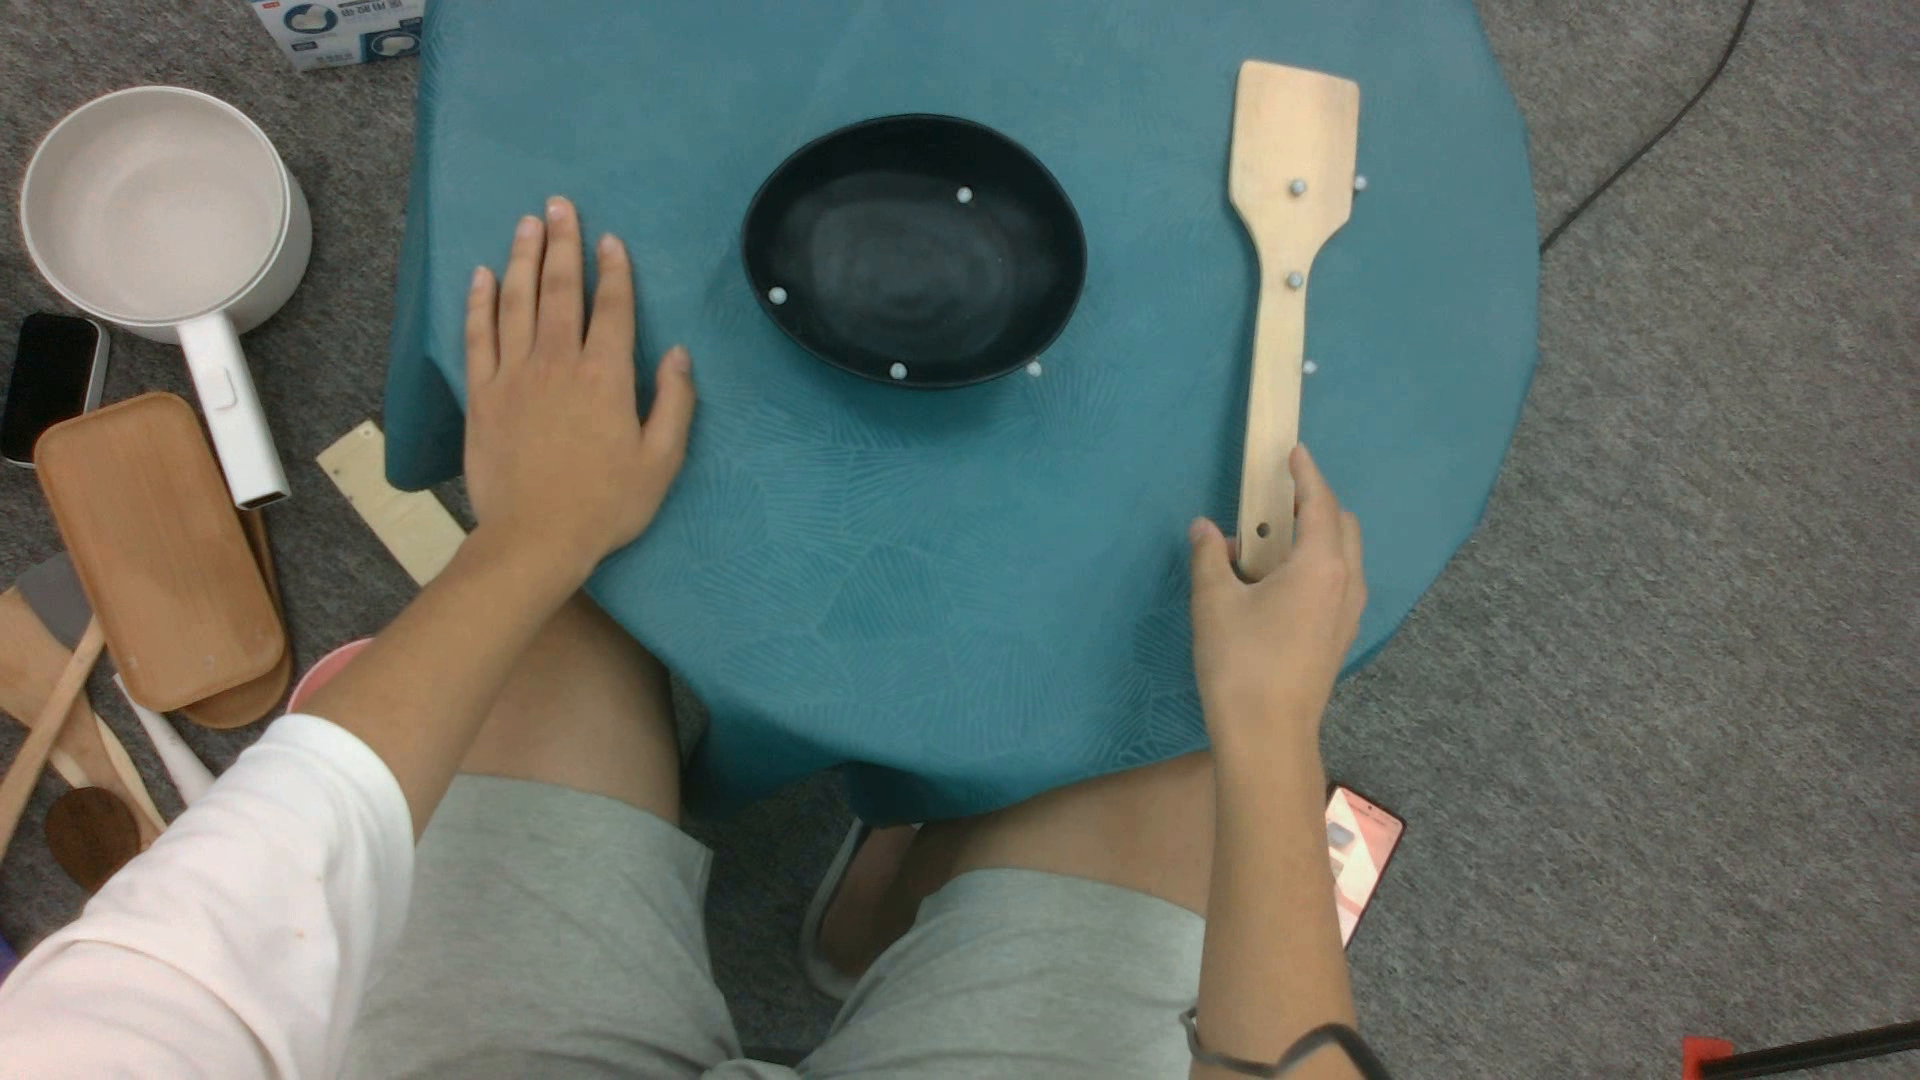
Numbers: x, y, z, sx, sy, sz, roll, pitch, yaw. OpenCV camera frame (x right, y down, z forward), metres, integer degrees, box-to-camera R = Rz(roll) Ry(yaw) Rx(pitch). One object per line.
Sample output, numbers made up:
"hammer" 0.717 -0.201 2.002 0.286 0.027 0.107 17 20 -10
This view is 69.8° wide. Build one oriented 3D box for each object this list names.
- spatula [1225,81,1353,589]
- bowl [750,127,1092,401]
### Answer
"spatula" 0.174 -0.115 0.746 0.072 0.010 0.294 9 75 -7
"bowl" -0.021 -0.133 0.704 0.170 0.066 0.137 0 83 -6
